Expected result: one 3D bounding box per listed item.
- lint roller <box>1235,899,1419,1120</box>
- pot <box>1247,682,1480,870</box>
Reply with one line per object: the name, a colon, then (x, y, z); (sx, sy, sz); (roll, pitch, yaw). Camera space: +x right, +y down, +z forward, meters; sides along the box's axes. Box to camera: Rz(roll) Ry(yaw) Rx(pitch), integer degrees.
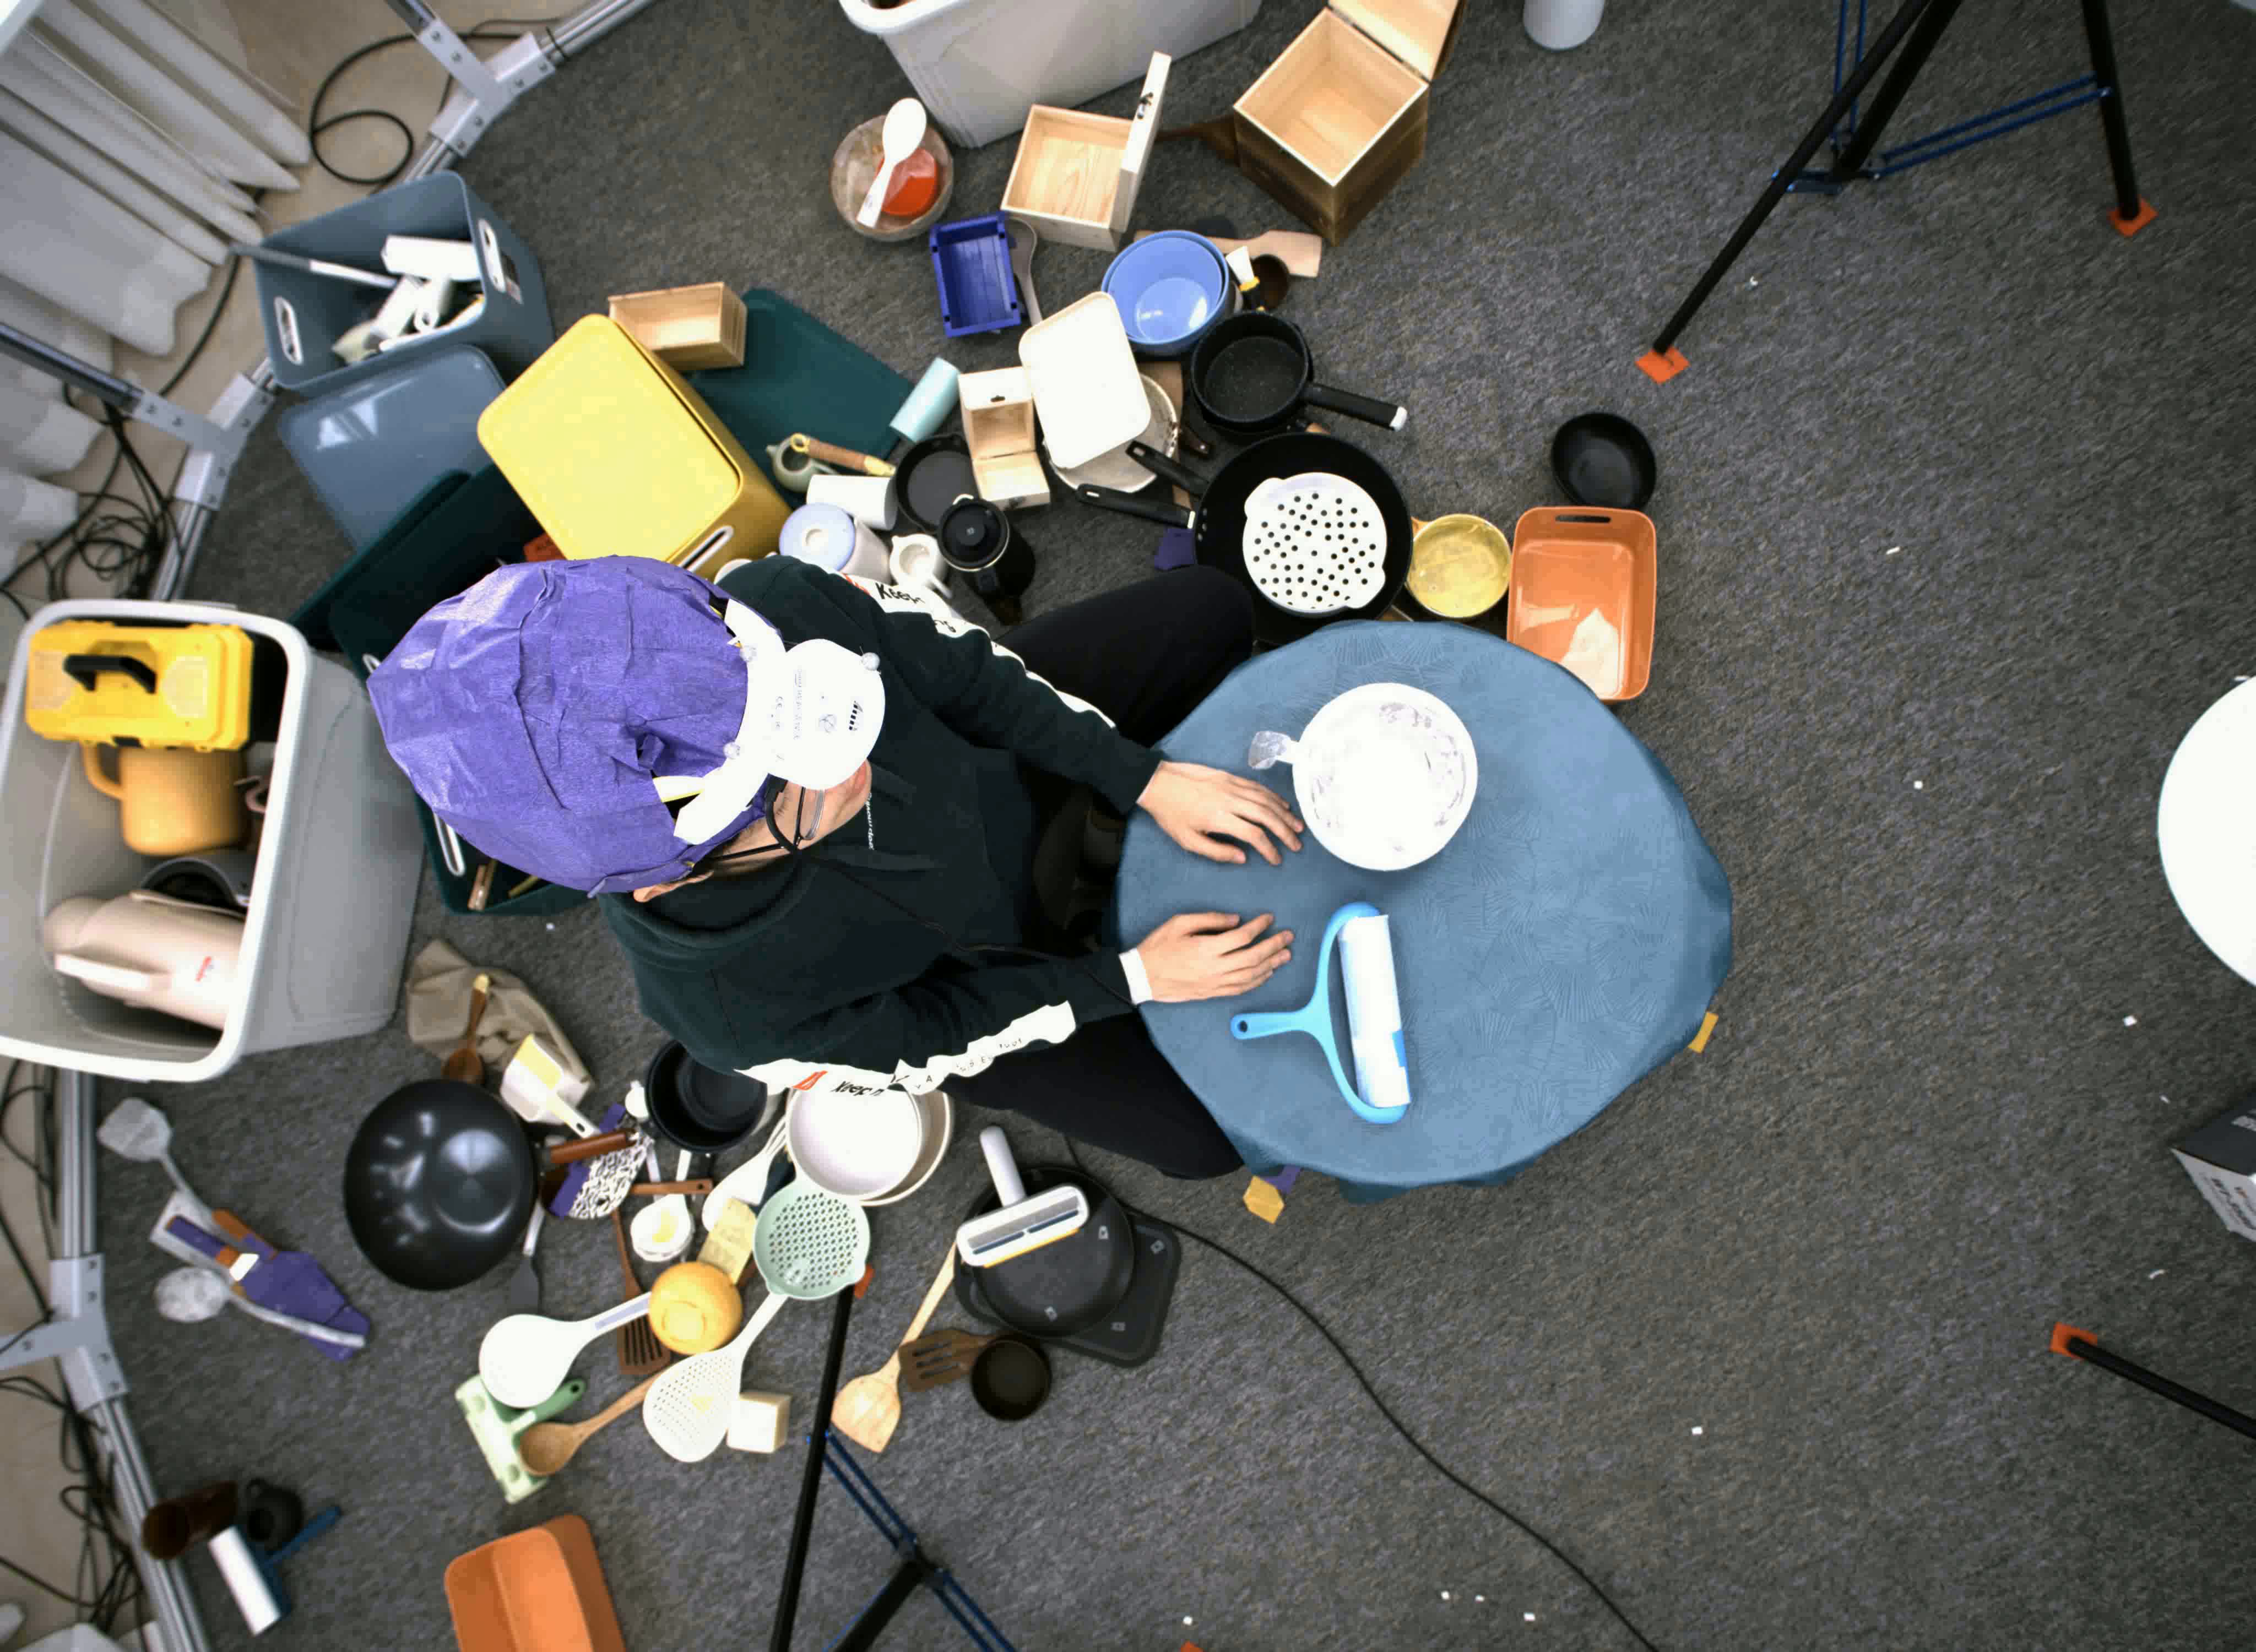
lint roller: (0.199, 0.199, 1.434); (0.181, 0.068, 0.228); (-12, 87, 8)
pot: (0.233, -0.054, 1.397); (0.234, 0.137, 0.178); (15, 89, 9)
